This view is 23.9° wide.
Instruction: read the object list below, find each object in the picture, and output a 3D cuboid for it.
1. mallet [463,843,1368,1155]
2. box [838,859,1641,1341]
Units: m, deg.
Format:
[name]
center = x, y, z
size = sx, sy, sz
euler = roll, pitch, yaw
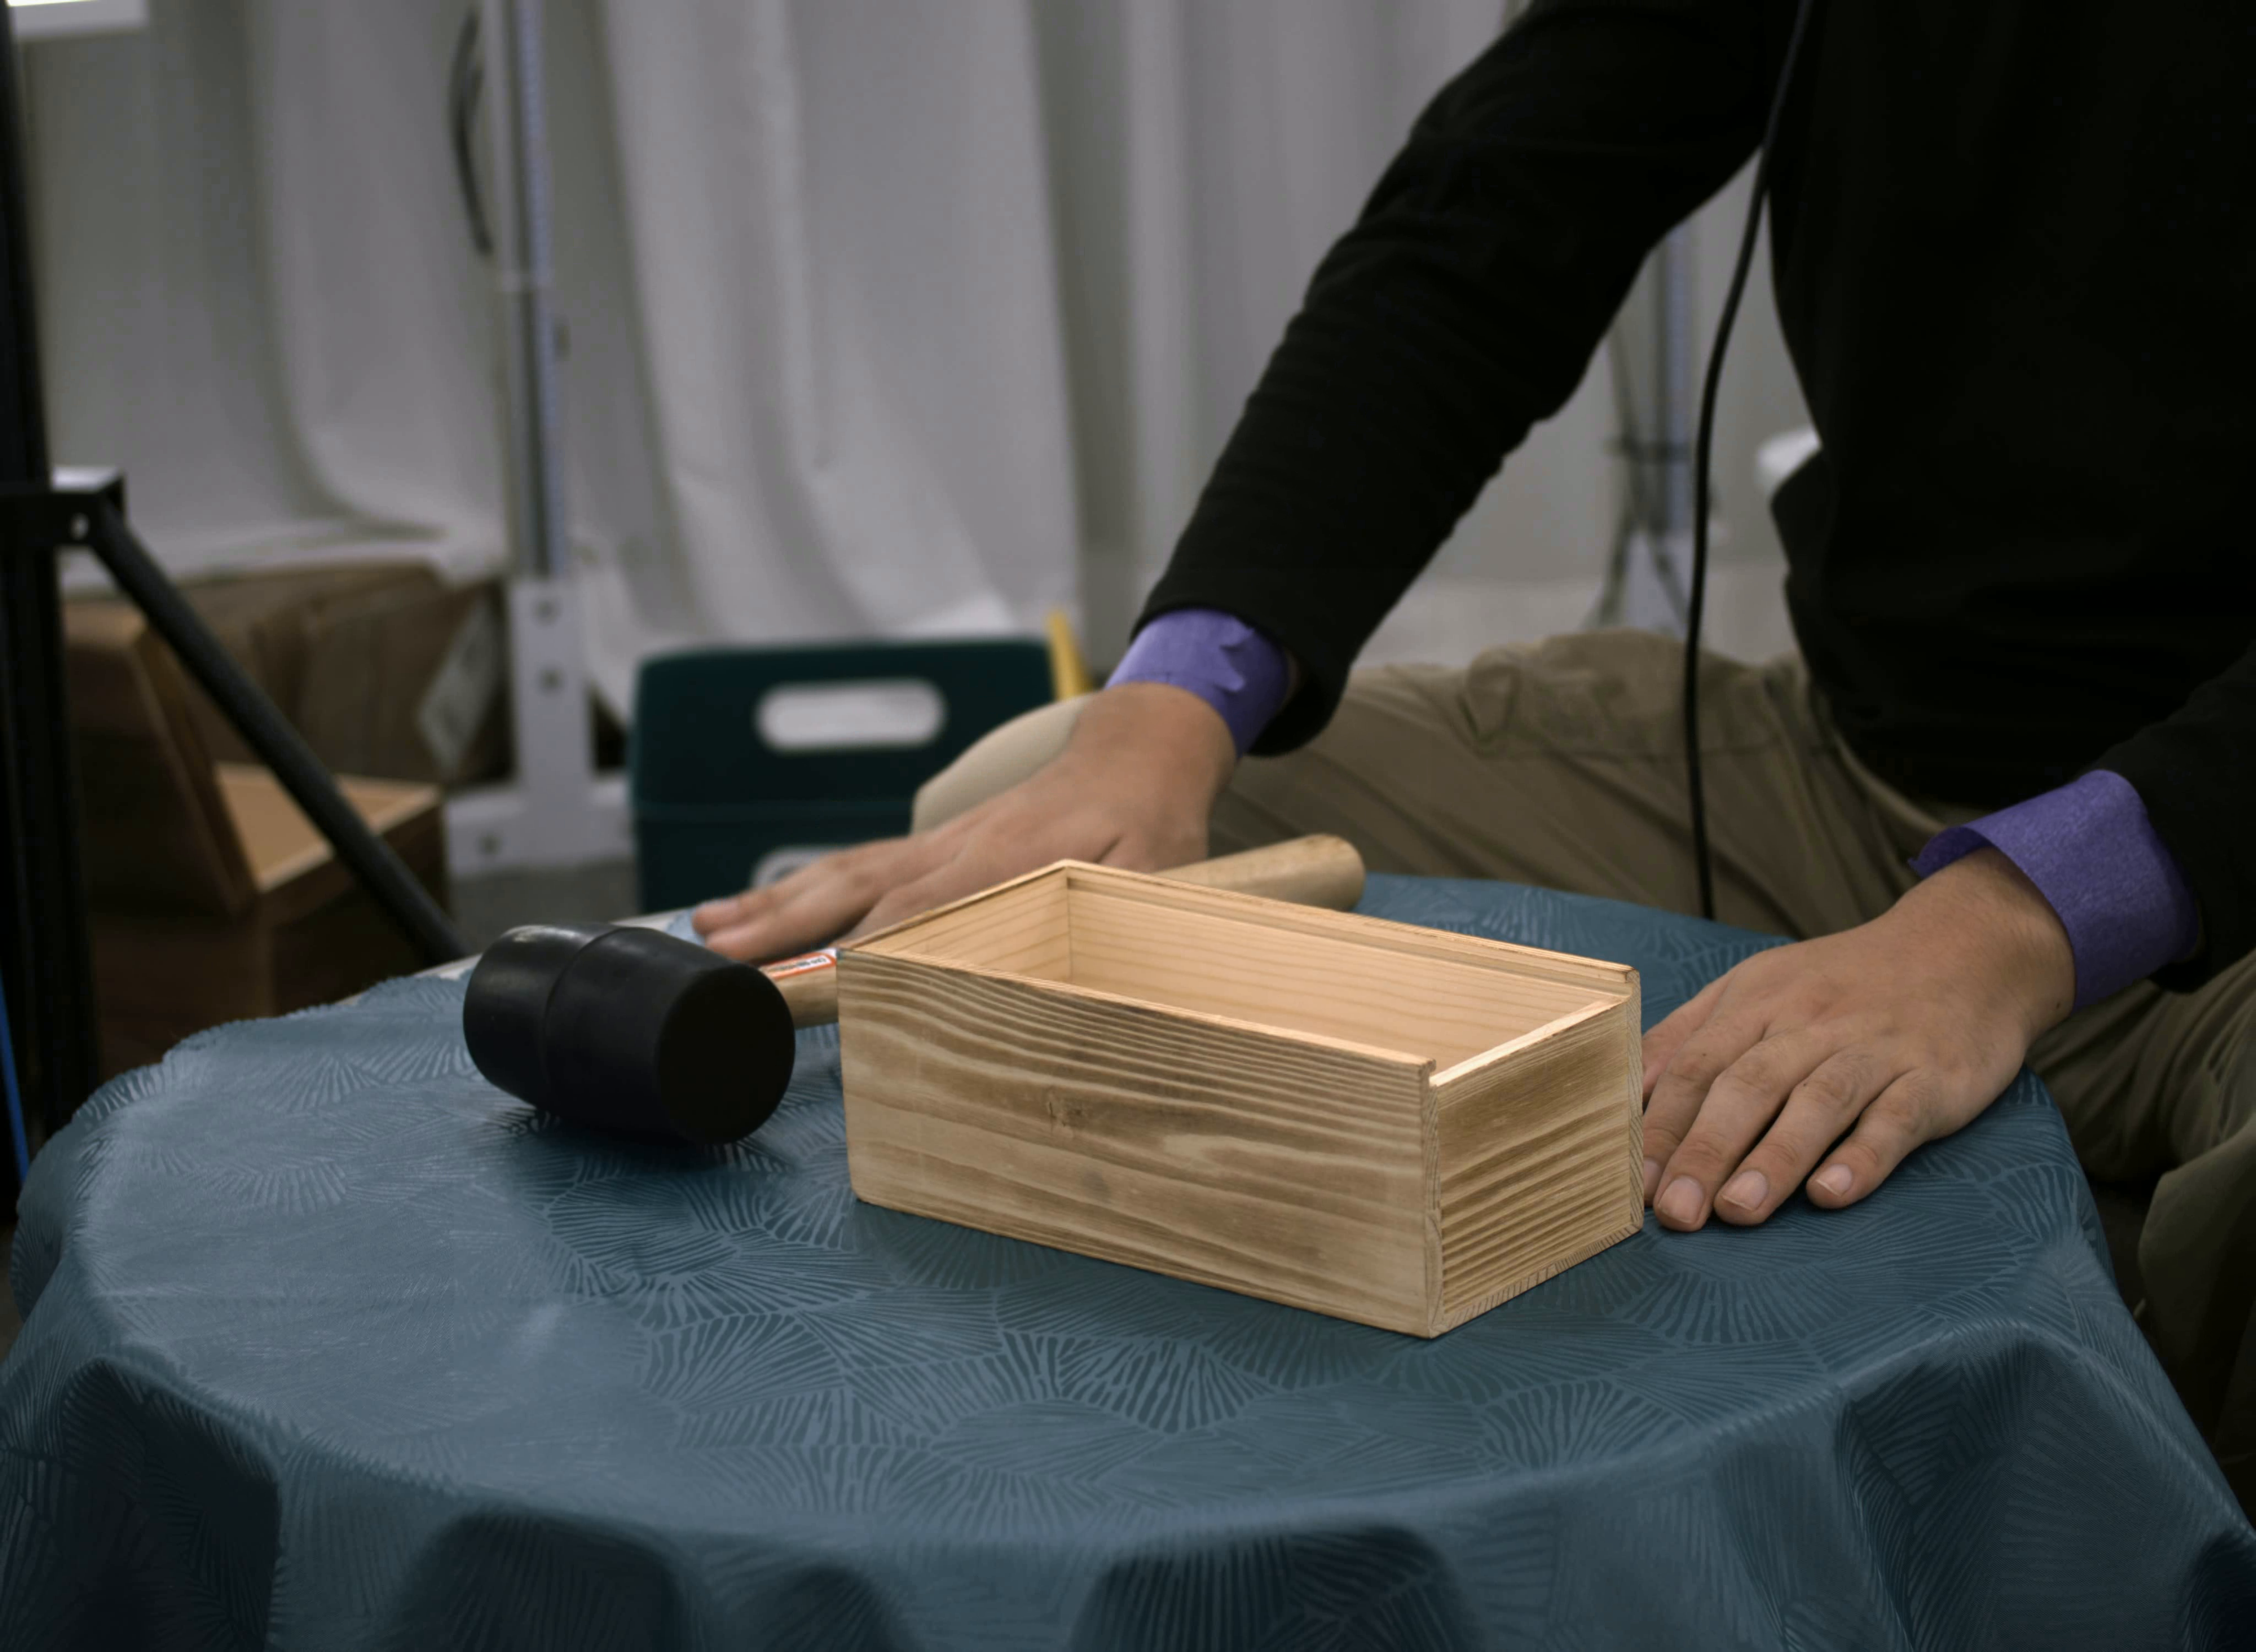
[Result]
[mallet]
center = -0.052, 0.036, 1.710
size = 0.331, 0.064, 0.104
euler = -15, 21, -39
[box]
center = 0.031, 0.075, 1.521
size = 0.216, 0.080, 0.105
euler = 10, 20, 39
